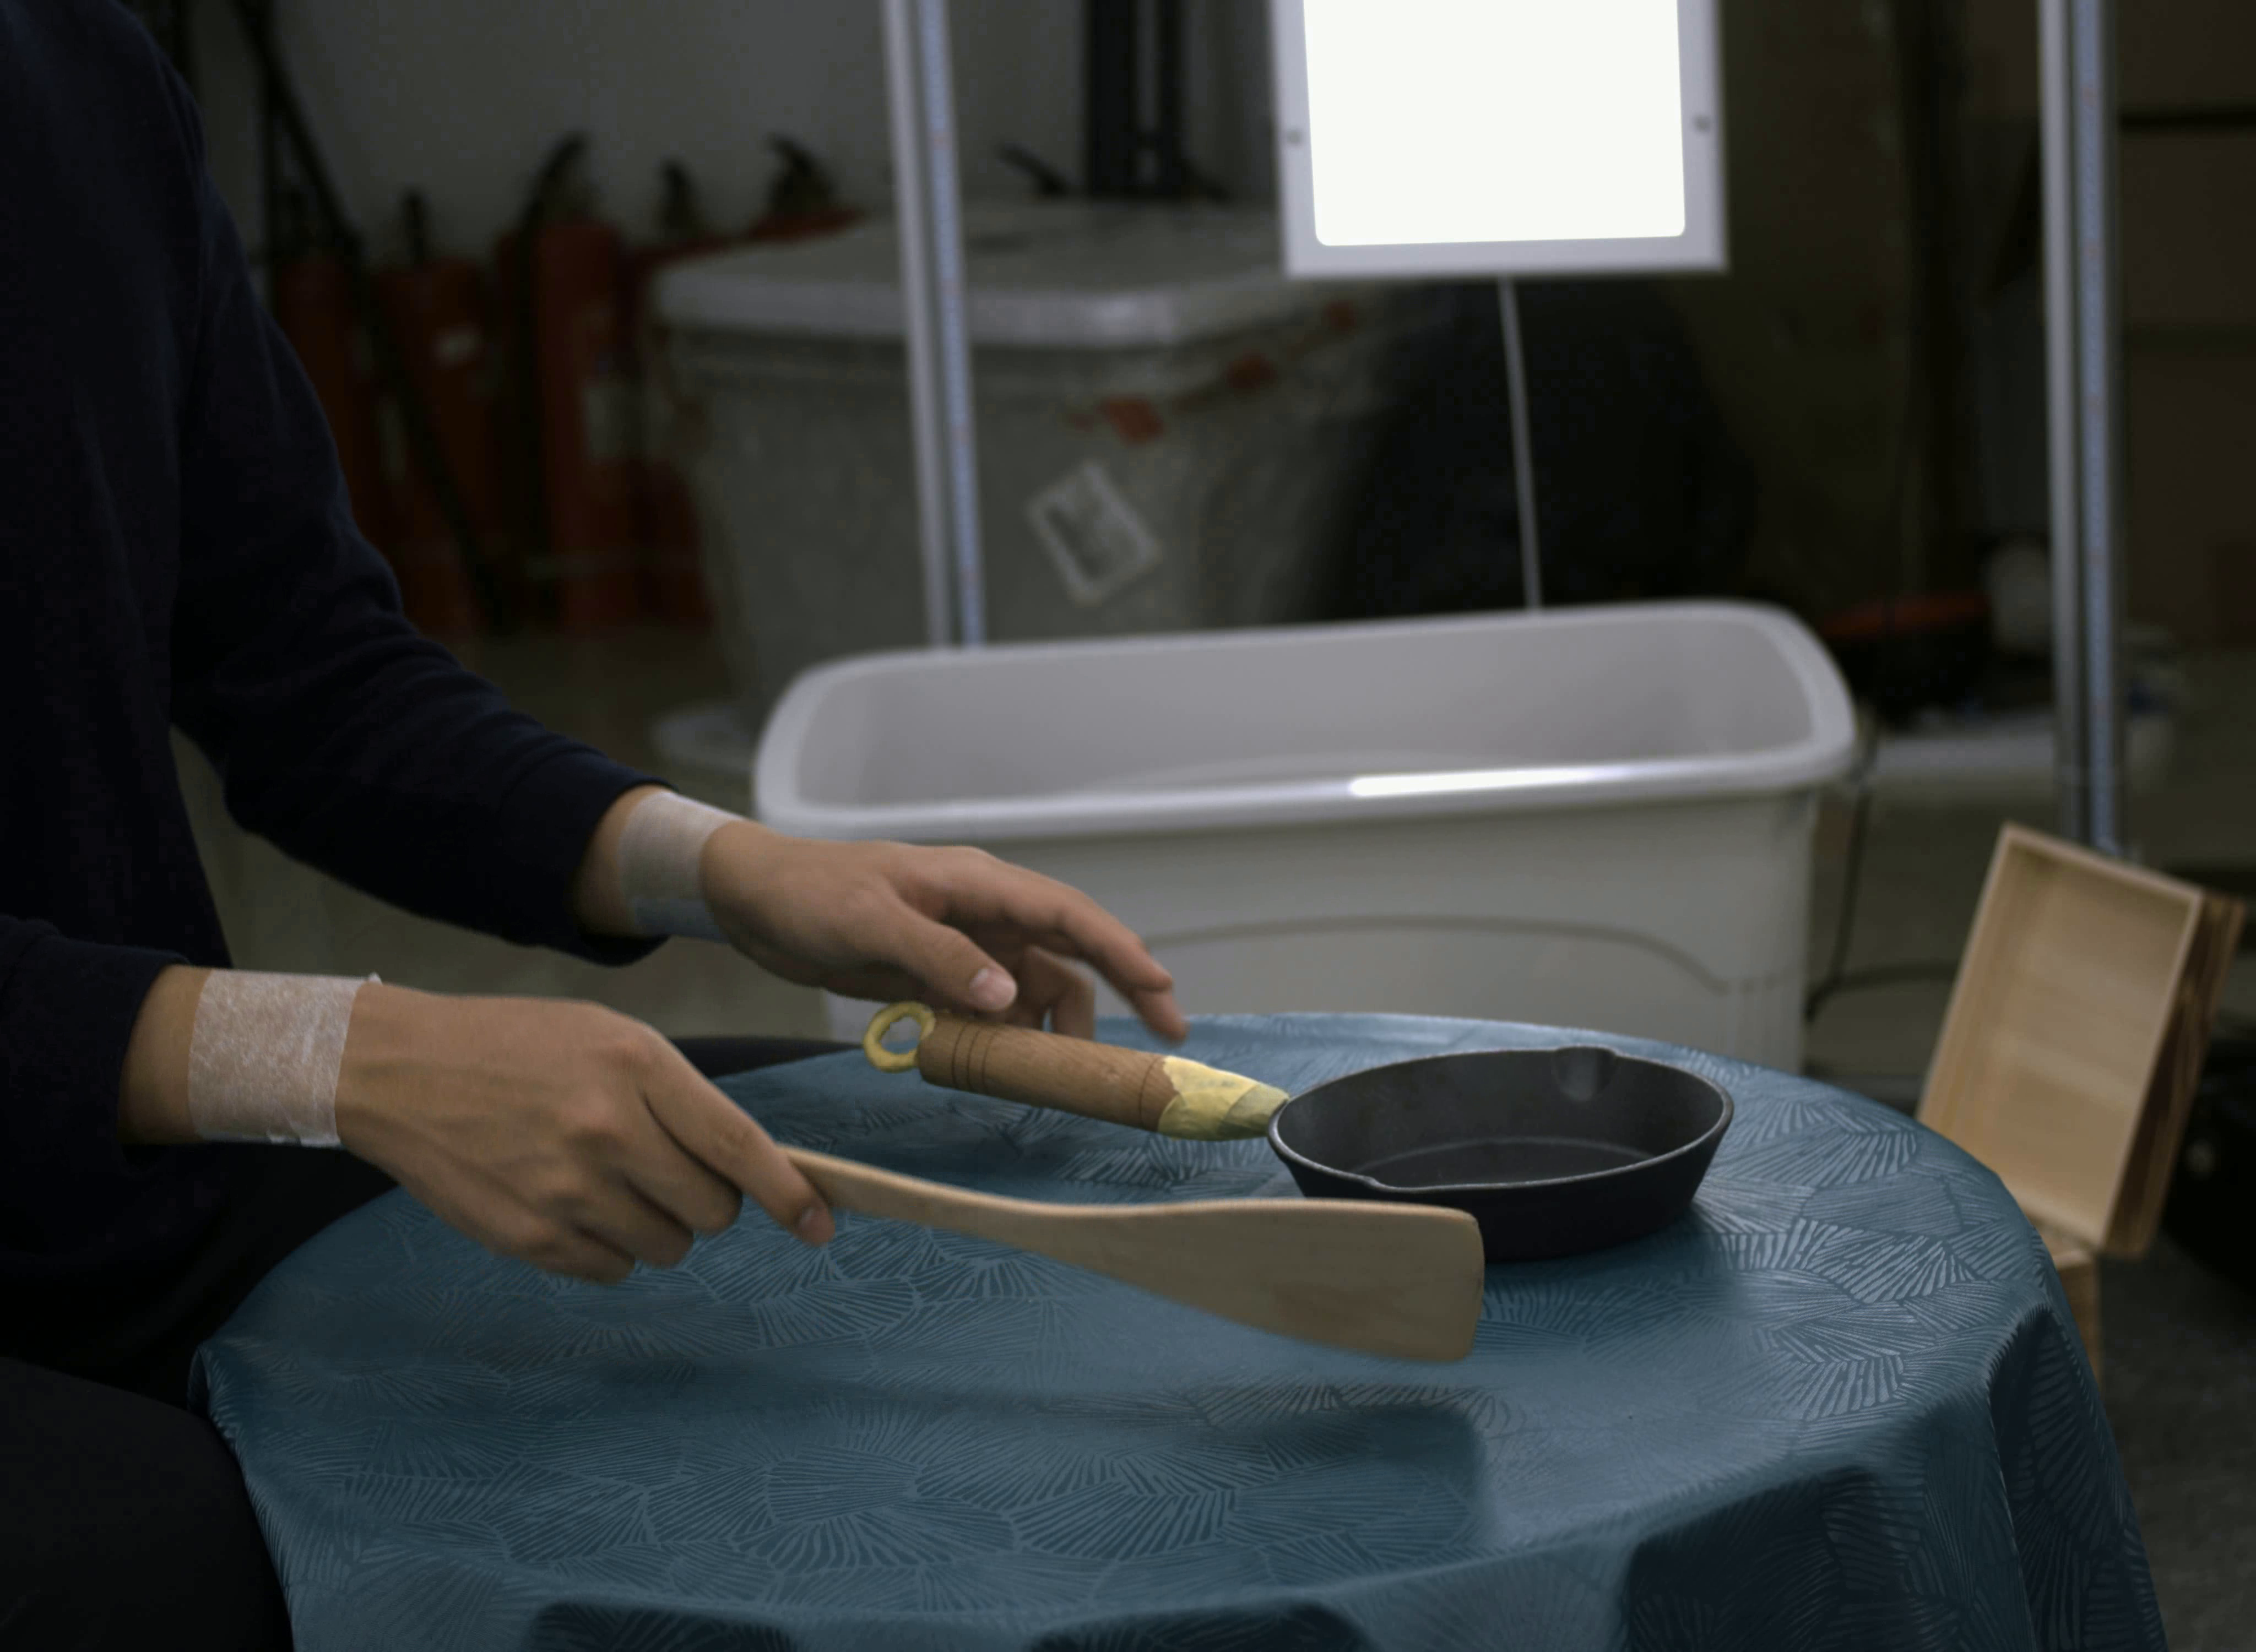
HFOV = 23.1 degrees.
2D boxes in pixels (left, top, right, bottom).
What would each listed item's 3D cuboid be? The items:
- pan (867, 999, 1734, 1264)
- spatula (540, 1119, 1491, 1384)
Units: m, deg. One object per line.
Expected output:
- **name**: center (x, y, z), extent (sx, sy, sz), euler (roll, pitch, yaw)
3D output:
- **pan**: center (0.052, 0.098, 1.887), extent (0.330, 0.050, 0.165), euler (5, 17, 31)
- **spatula**: center (-0.038, 0.124, 1.710), extent (0.333, 0.080, 0.016), euler (9, 48, 25)
